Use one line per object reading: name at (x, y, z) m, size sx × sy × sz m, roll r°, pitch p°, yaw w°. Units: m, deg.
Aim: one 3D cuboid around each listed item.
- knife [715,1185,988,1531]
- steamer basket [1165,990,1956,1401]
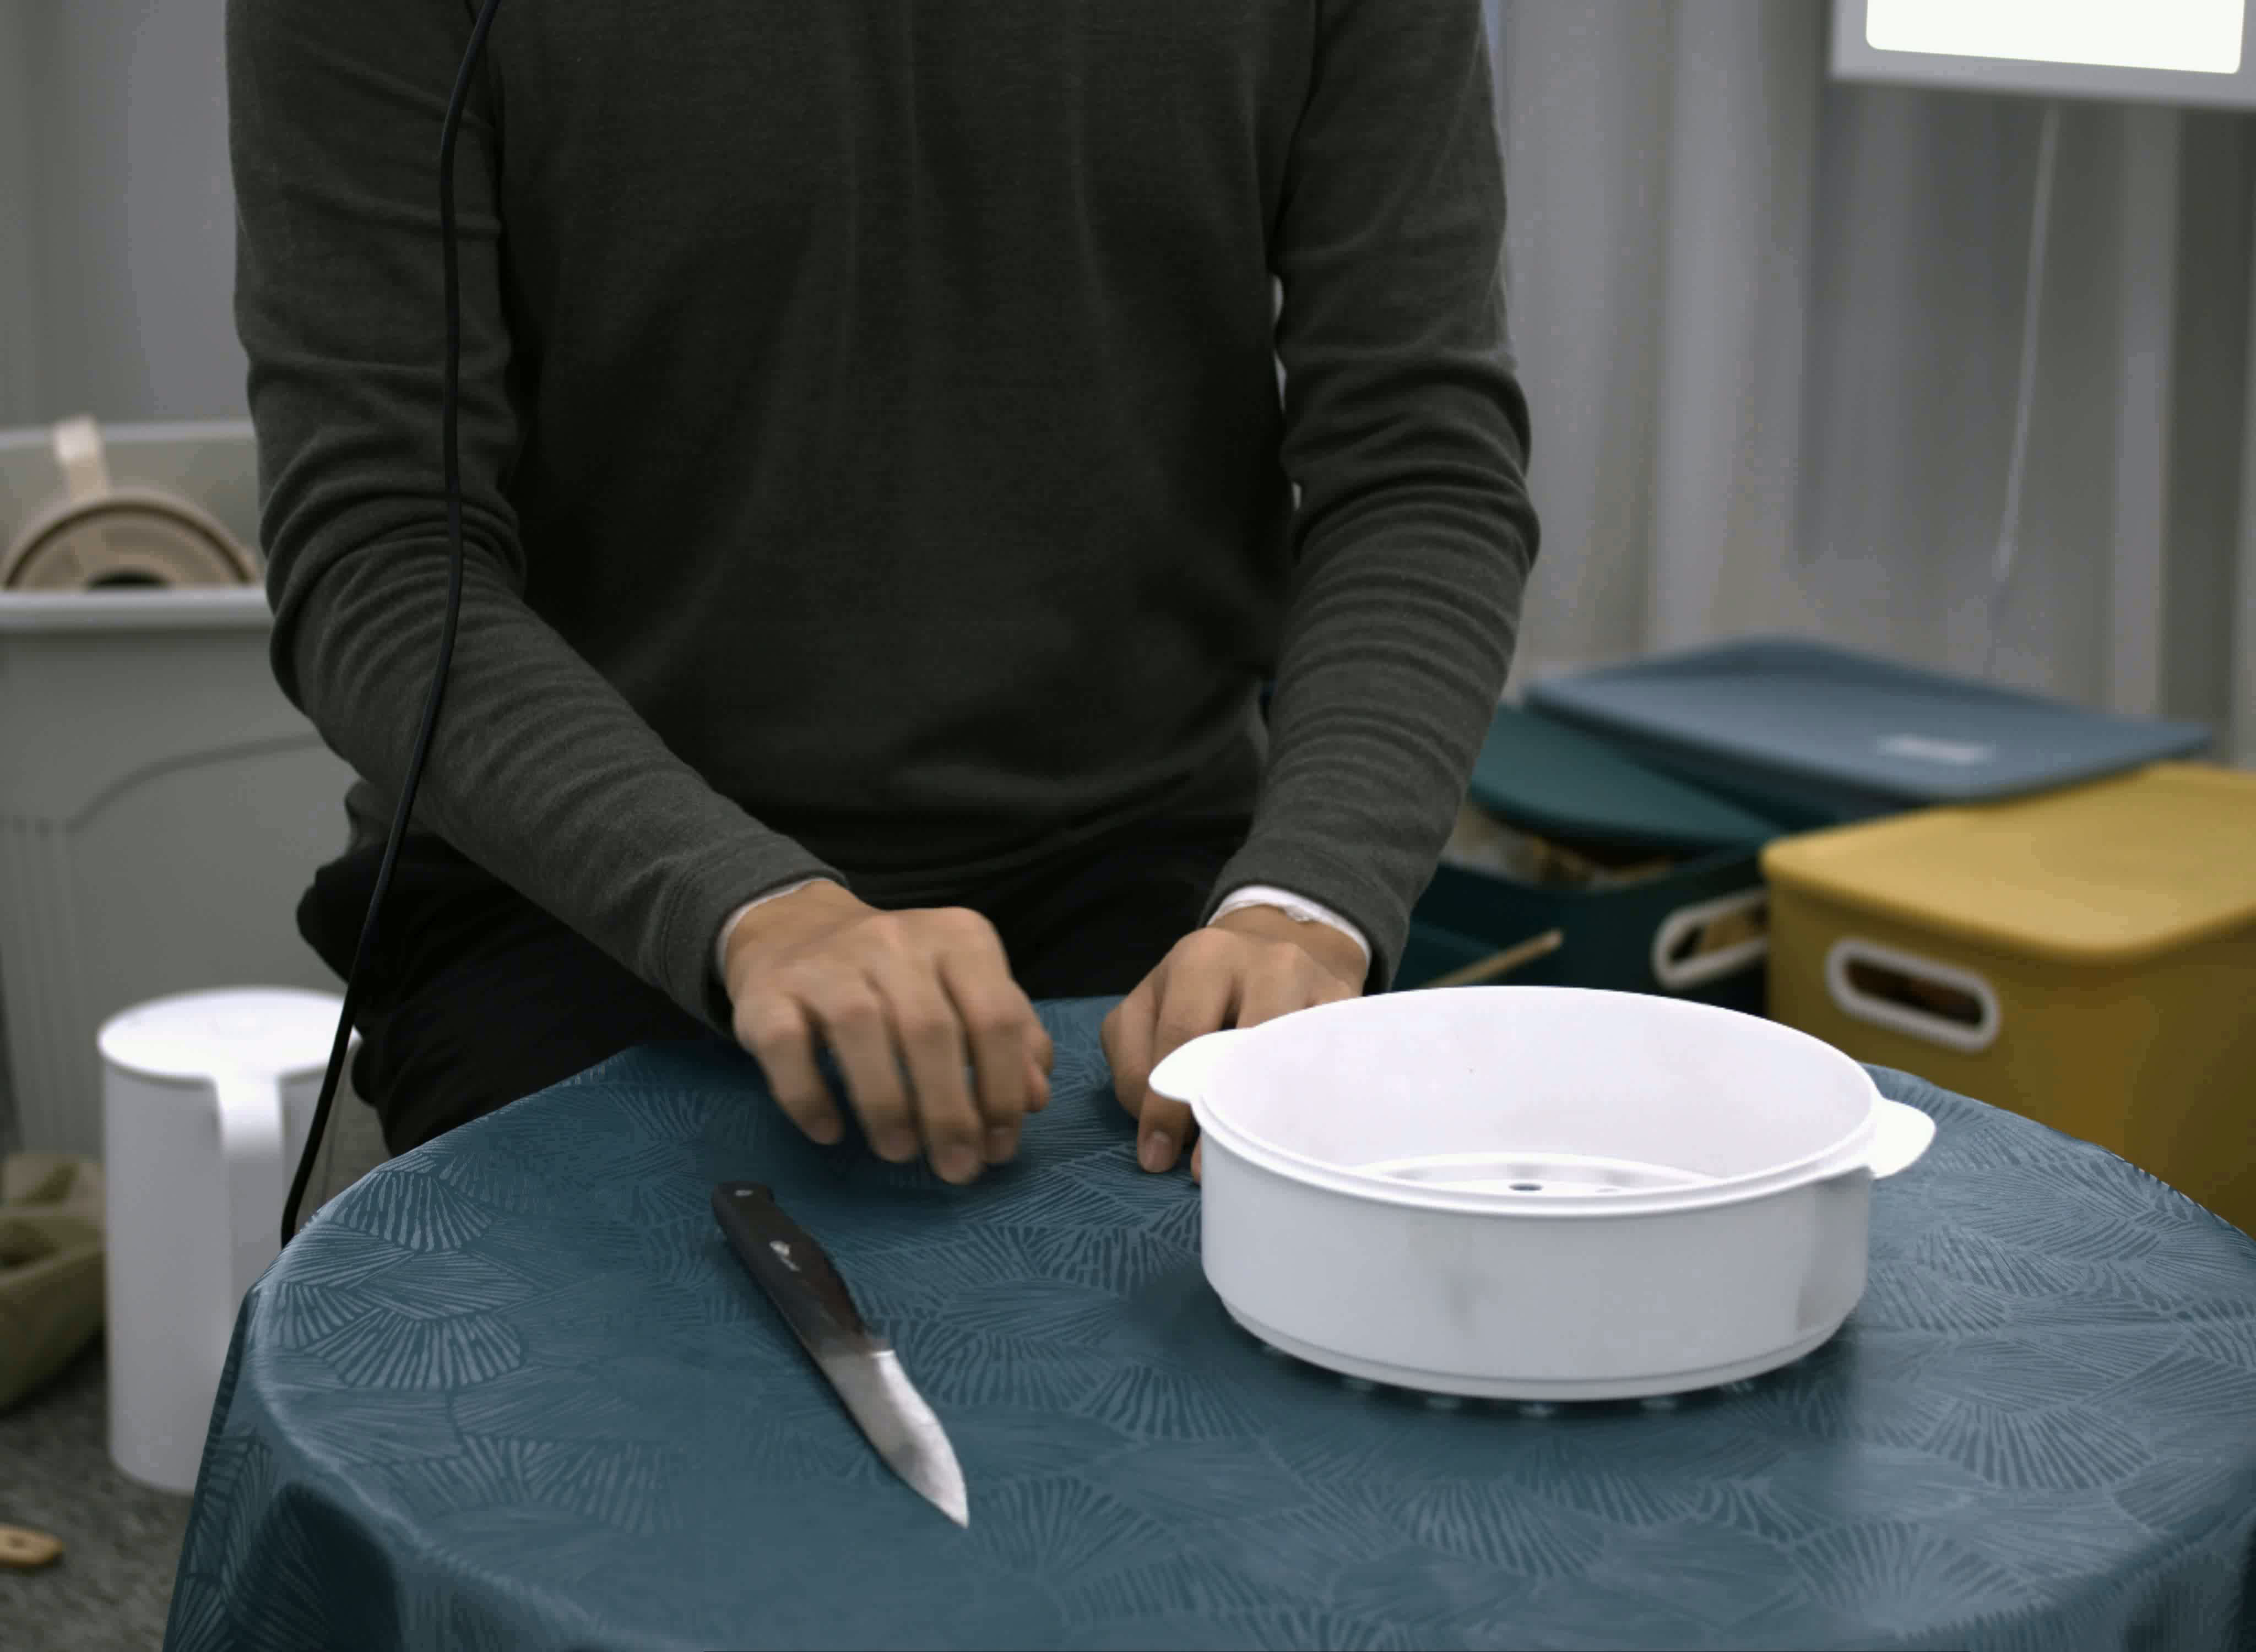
knife at (-0.079, 0.148, 1.472) m, size 0.024 × 0.016 × 0.235 m, roll -7°, pitch 20°, yaw -18°
steamer basket at (0.123, 0.106, 1.524) m, size 0.228 × 0.070 × 0.202 m, roll 6°, pitch 16°, yaw 20°
